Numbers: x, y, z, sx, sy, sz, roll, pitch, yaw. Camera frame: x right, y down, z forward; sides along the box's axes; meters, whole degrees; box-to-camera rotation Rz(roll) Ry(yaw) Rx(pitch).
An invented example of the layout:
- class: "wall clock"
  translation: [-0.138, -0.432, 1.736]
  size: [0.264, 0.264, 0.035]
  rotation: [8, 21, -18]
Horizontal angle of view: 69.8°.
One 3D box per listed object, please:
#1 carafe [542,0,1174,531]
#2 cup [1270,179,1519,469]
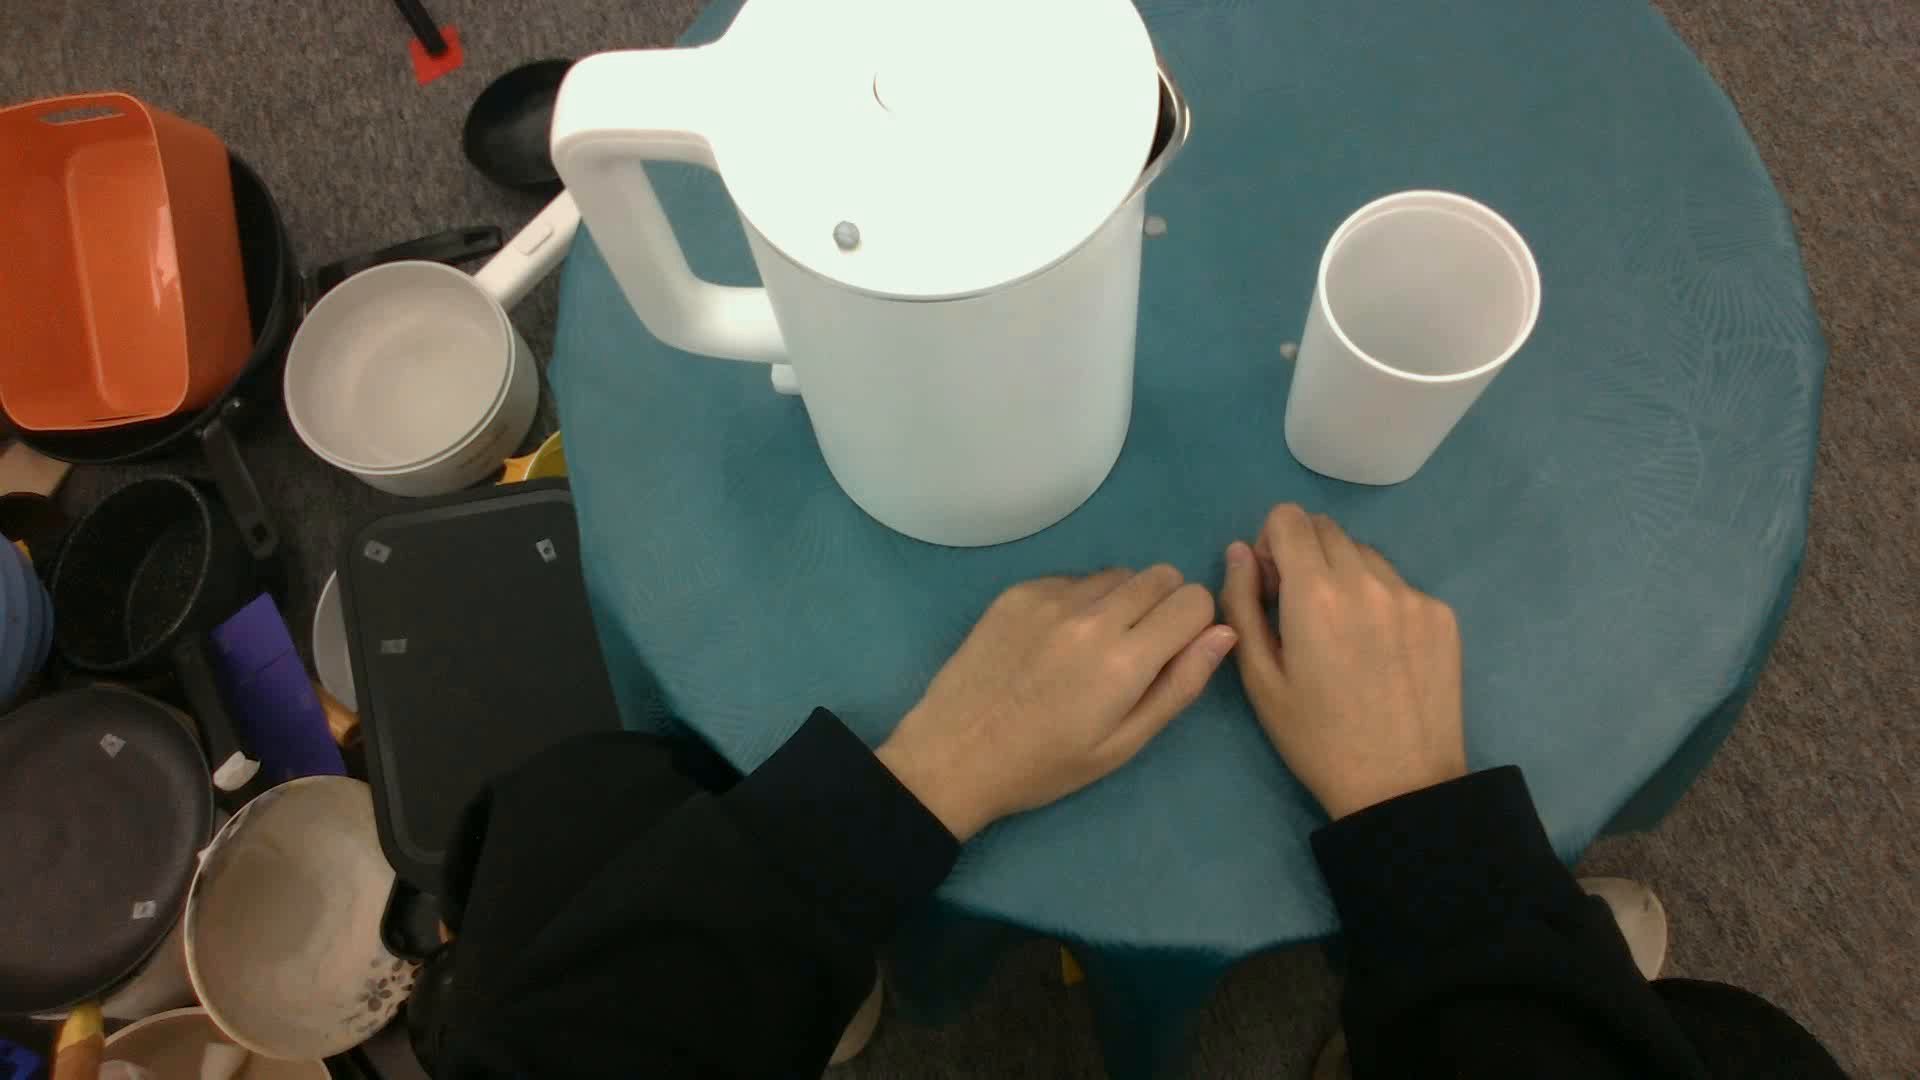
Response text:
- class: "carafe"
  translation: [-0.033, -0.115, 0.548]
  size: [0.213, 0.239, 0.152]
  rotation: [4, 71, 3]
- class: "cup"
  translation: [0.175, -0.084, 0.584]
  size: [0.081, 0.125, 0.082]
  rotation: [-1, 72, 3]
